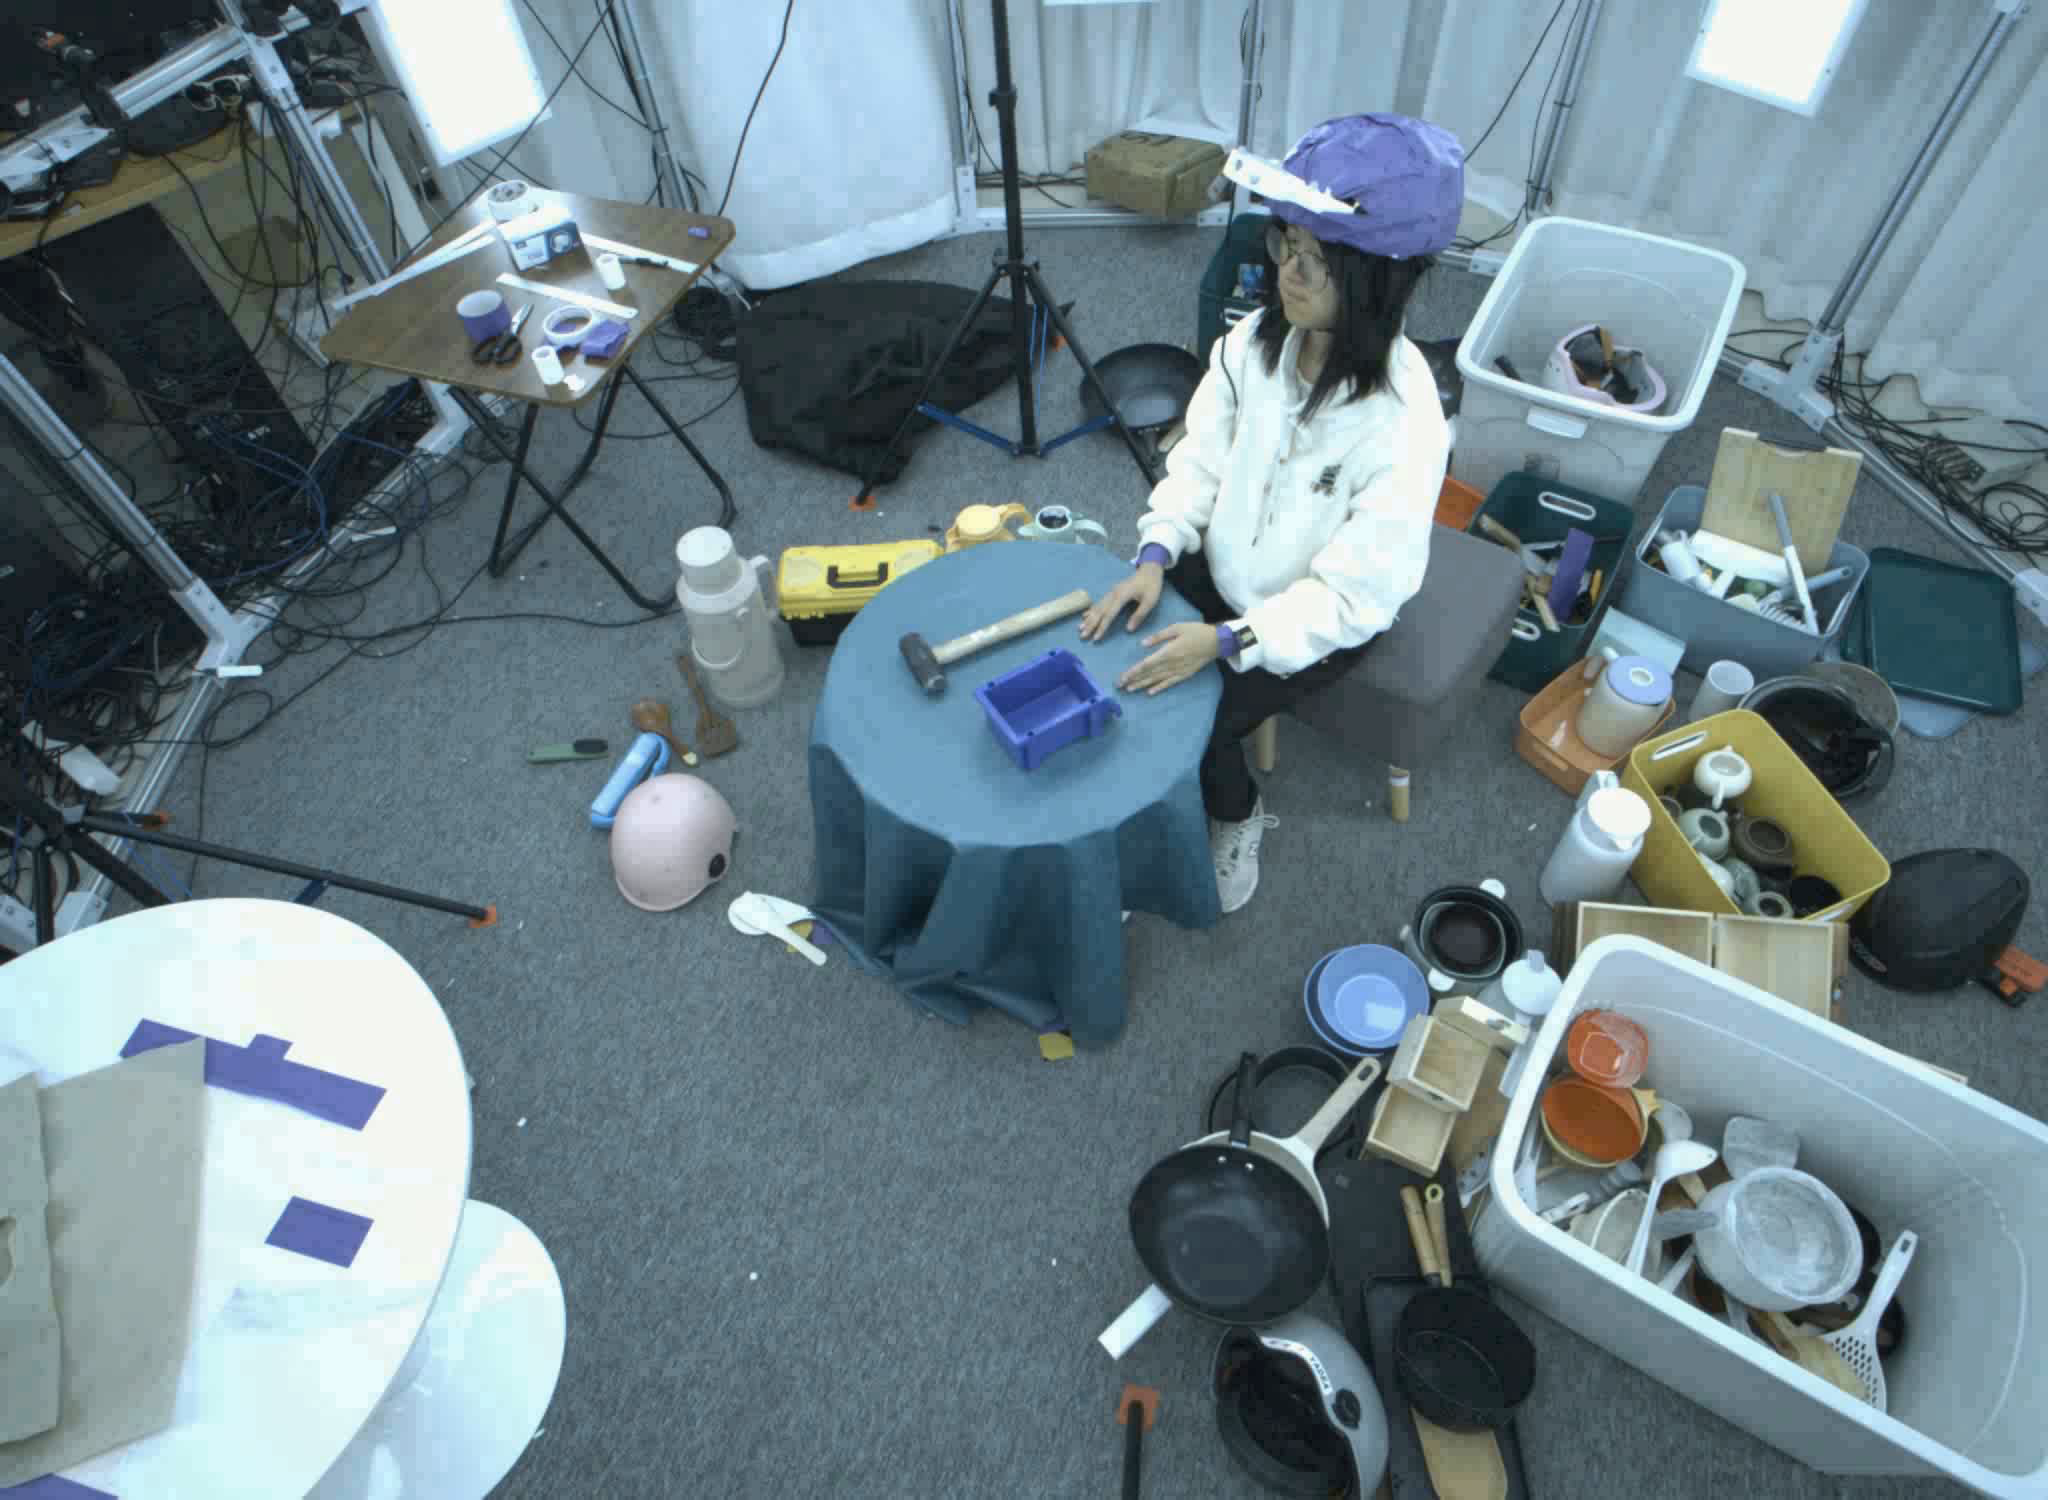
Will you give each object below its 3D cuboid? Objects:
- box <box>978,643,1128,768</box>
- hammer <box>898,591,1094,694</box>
[{"bbox_3d":[0.042,-0.069,1.786,0.180,0.083,0.122,-29,58,-14],"label":"box"},{"bbox_3d":[-0.036,-0.182,1.897,0.307,0.039,0.105,-22,57,-14],"label":"hammer"}]
